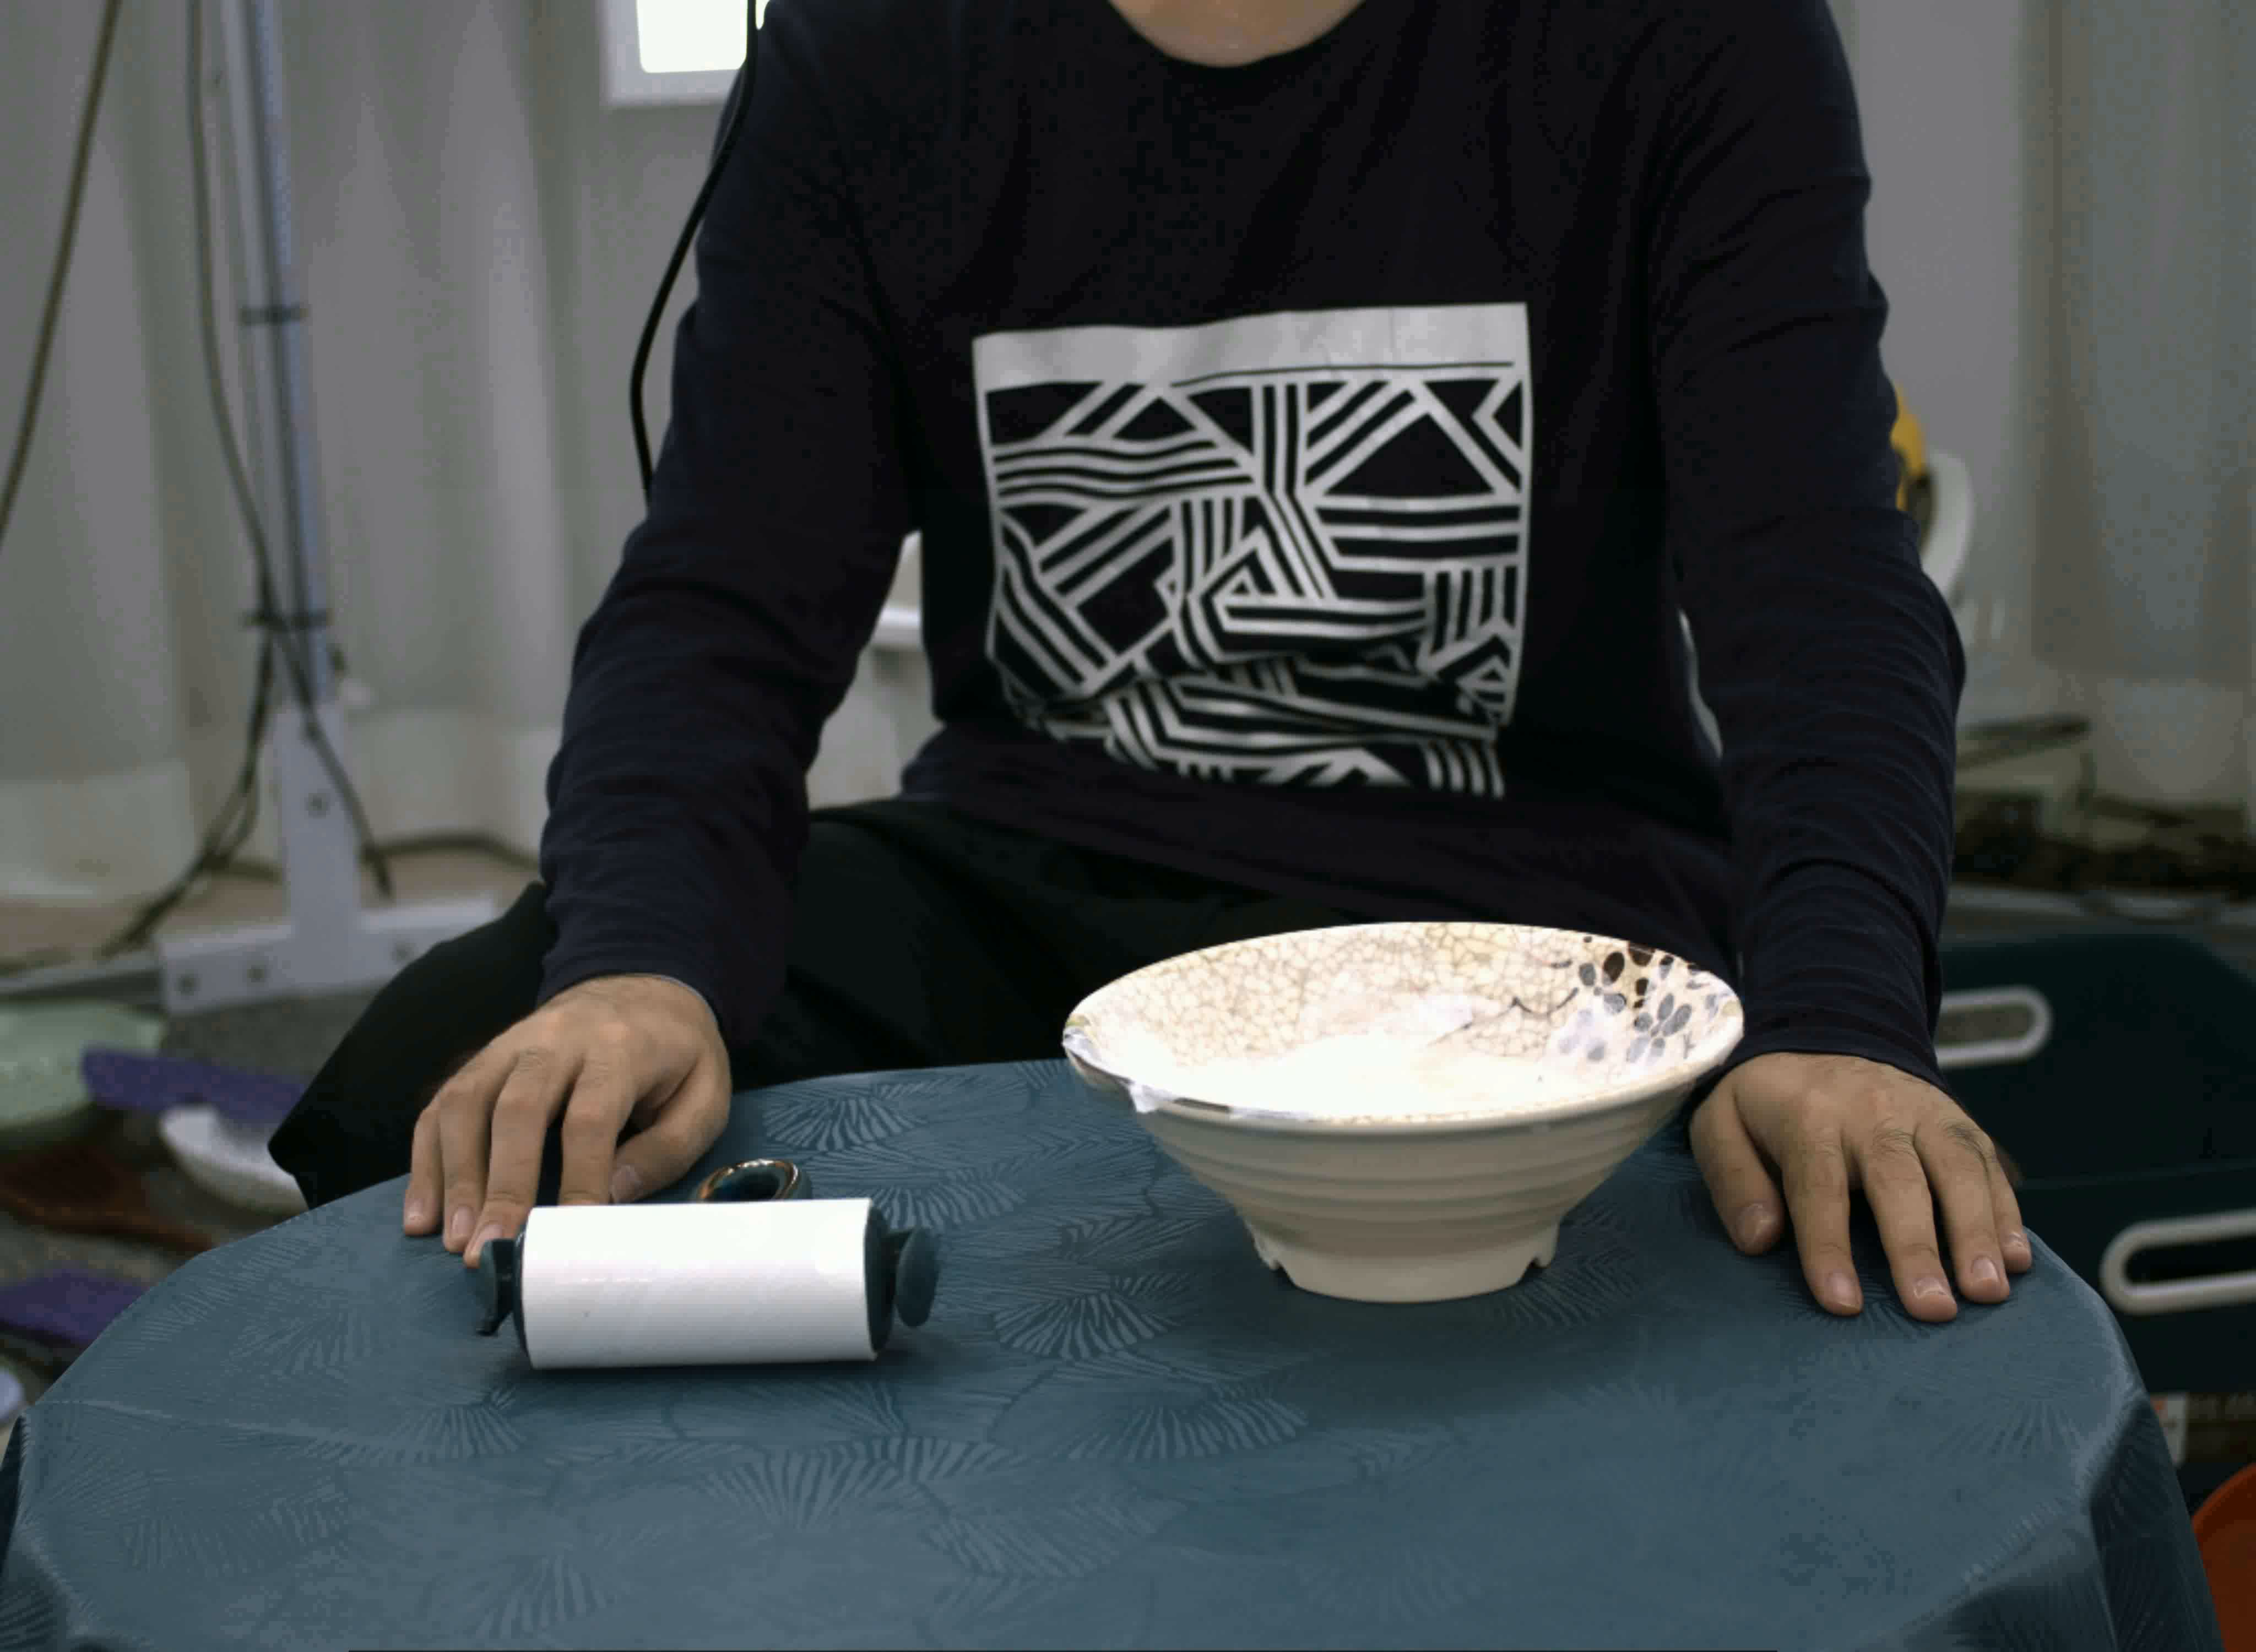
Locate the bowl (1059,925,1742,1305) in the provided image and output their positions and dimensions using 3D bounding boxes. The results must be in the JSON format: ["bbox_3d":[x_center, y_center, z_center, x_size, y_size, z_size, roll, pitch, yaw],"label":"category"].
[{"bbox_3d":[0.081,0.093,1.635,0.203,0.077,0.205,-2,14,0],"label":"bowl"}]

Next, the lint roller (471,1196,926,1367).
[{"bbox_3d":[-0.121,0.119,1.647,0.134,0.048,0.181,-2,11,3],"label":"lint roller"}]
